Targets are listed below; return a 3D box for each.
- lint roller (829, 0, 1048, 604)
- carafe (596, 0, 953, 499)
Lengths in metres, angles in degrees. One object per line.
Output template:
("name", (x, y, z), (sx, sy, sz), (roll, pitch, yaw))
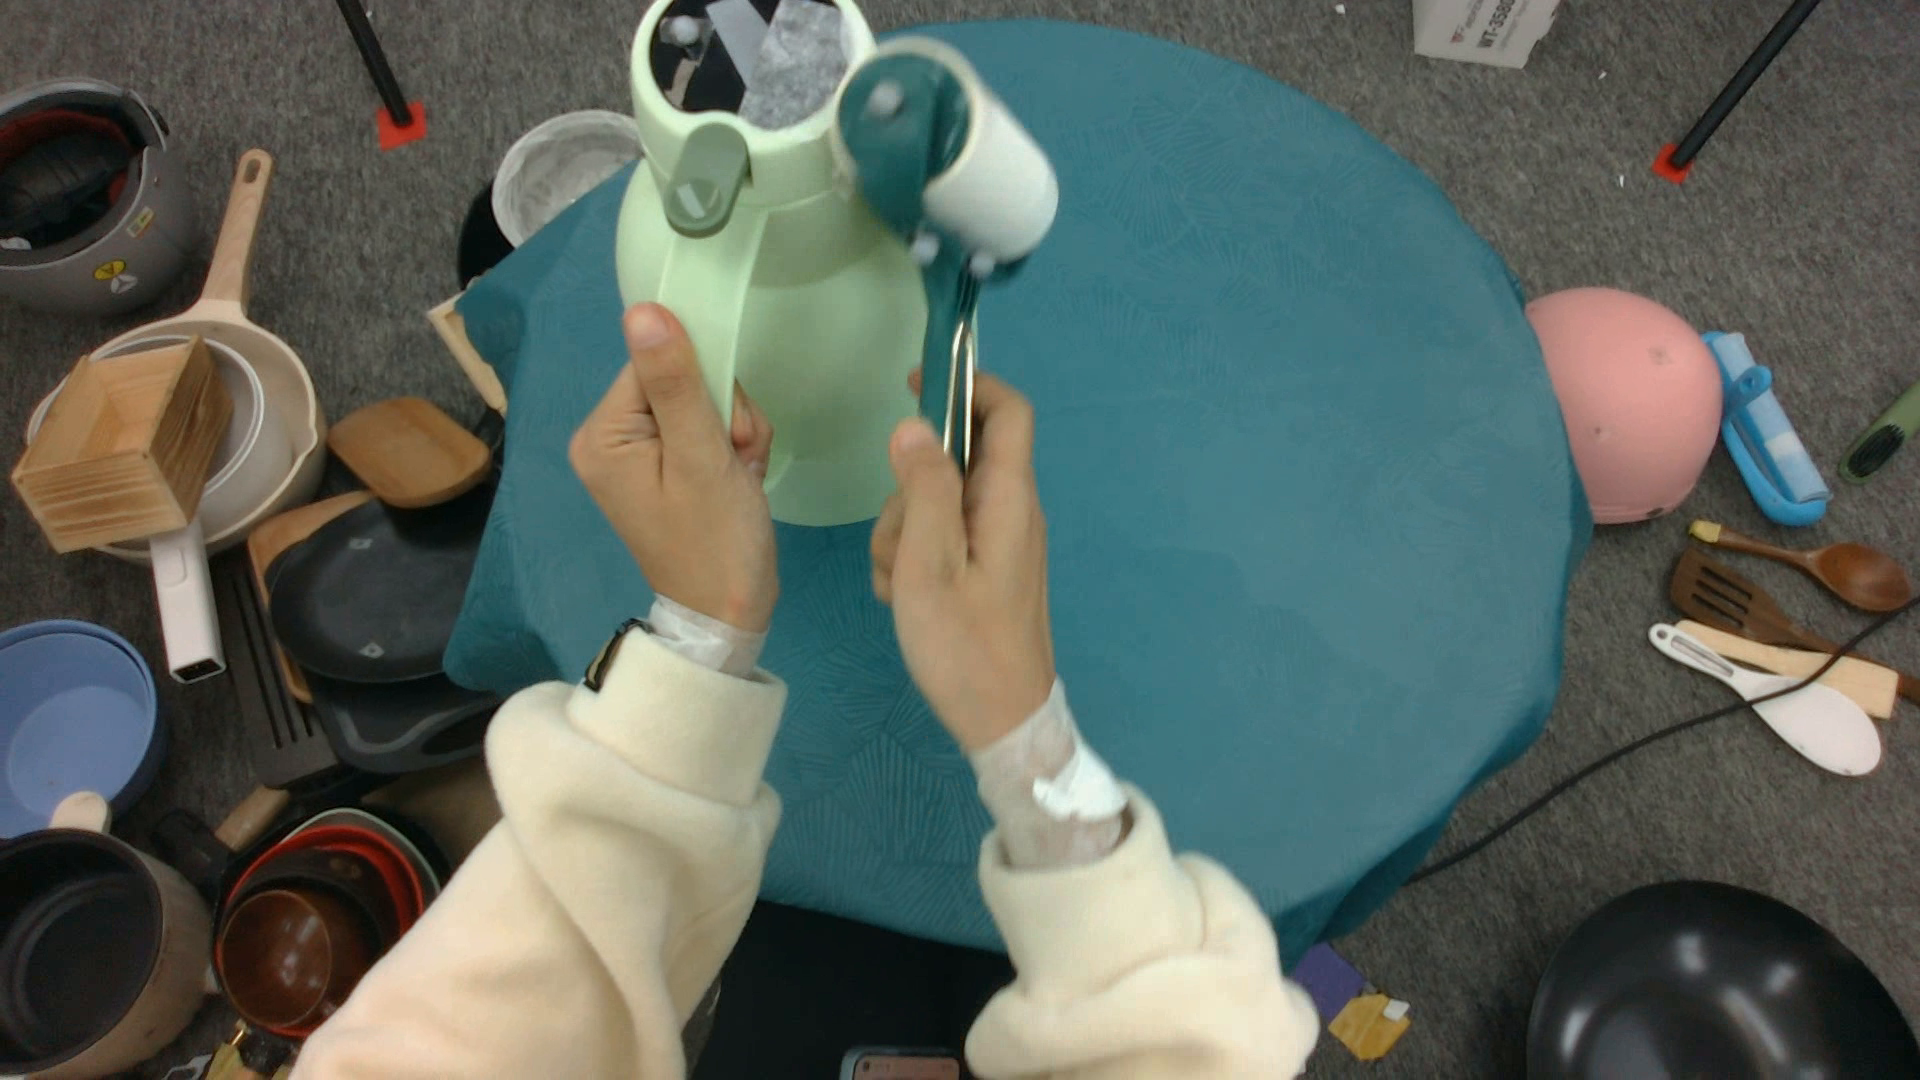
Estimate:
("lint roller", (0.001, -0.070, 0.449), (0.048, 0.134, 0.180), (-5, 89, 15))
("carafe", (-0.076, -0.107, 0.545), (0.144, 0.256, 0.187), (14, 75, 2))
